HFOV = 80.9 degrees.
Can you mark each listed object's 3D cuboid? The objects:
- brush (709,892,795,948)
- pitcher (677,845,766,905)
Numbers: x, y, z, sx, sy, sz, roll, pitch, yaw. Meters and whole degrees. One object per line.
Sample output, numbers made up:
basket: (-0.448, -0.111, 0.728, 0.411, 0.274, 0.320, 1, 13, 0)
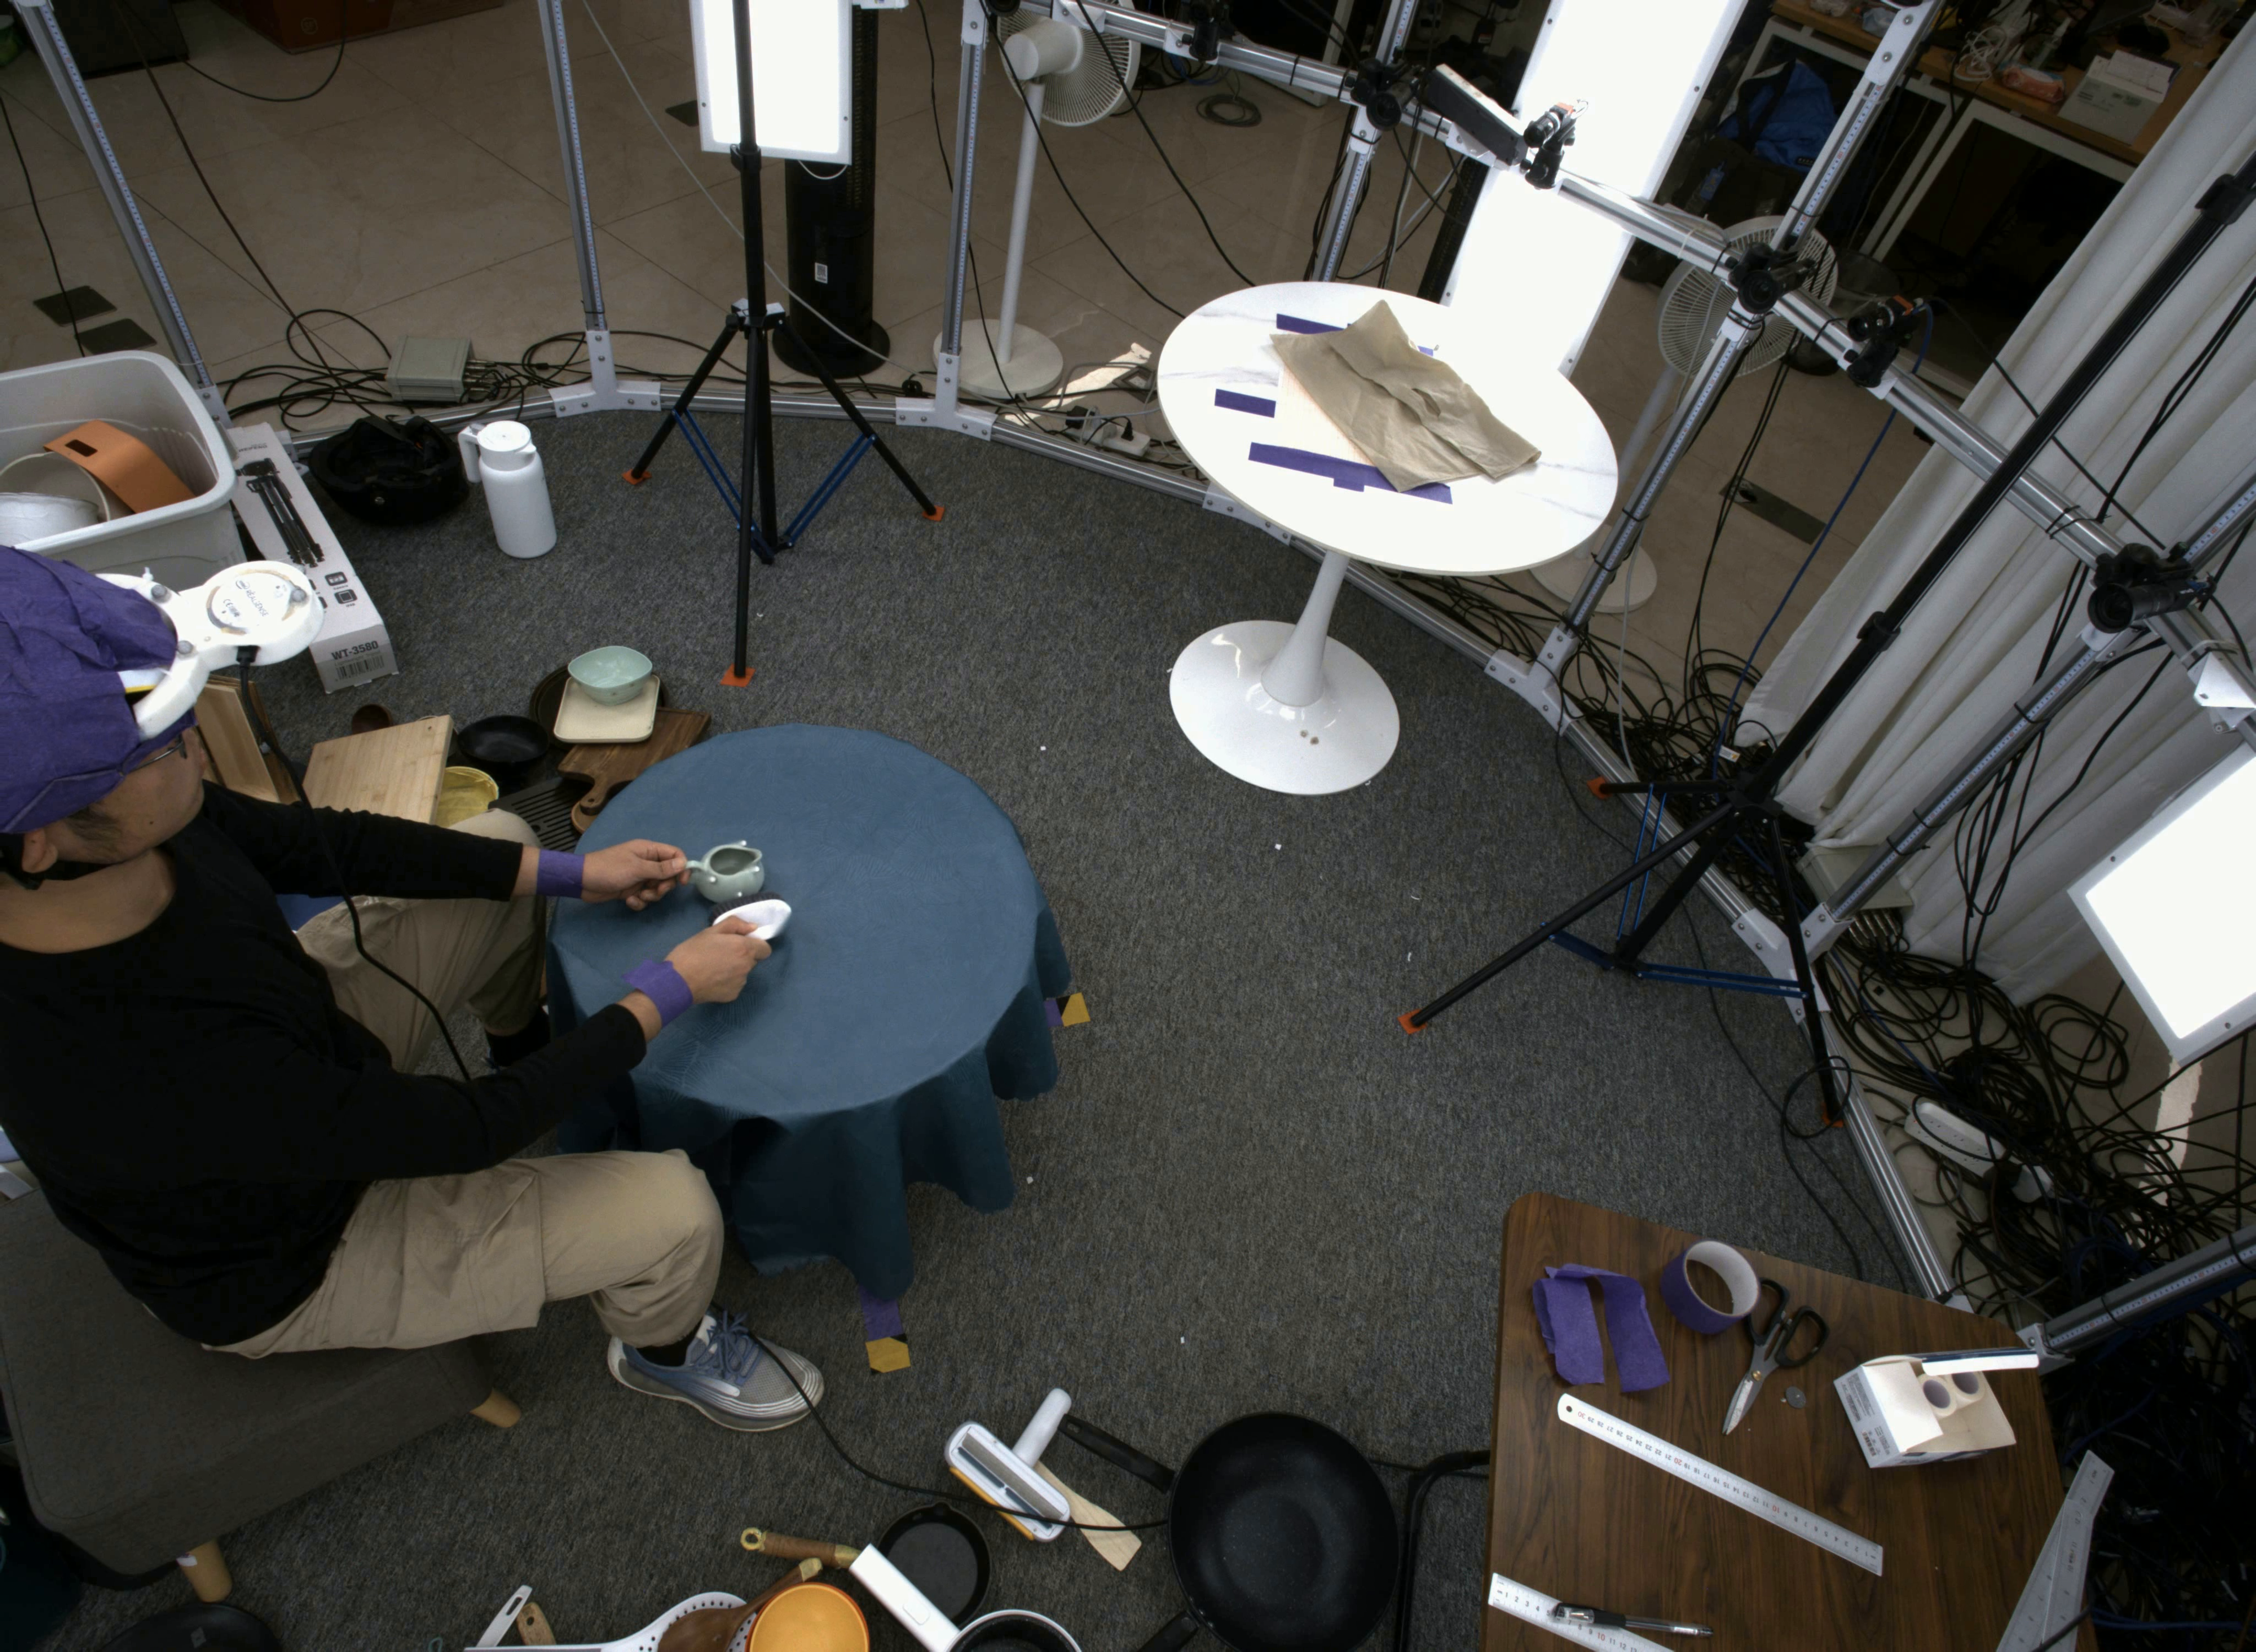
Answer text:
brush: (-0.454, 0.119, 1.576, 0.100, 0.052, 0.070, -14, 26, -28)
pitcher: (-0.511, 0.060, 1.625, 0.108, 0.062, 0.084, -14, 55, -20)
